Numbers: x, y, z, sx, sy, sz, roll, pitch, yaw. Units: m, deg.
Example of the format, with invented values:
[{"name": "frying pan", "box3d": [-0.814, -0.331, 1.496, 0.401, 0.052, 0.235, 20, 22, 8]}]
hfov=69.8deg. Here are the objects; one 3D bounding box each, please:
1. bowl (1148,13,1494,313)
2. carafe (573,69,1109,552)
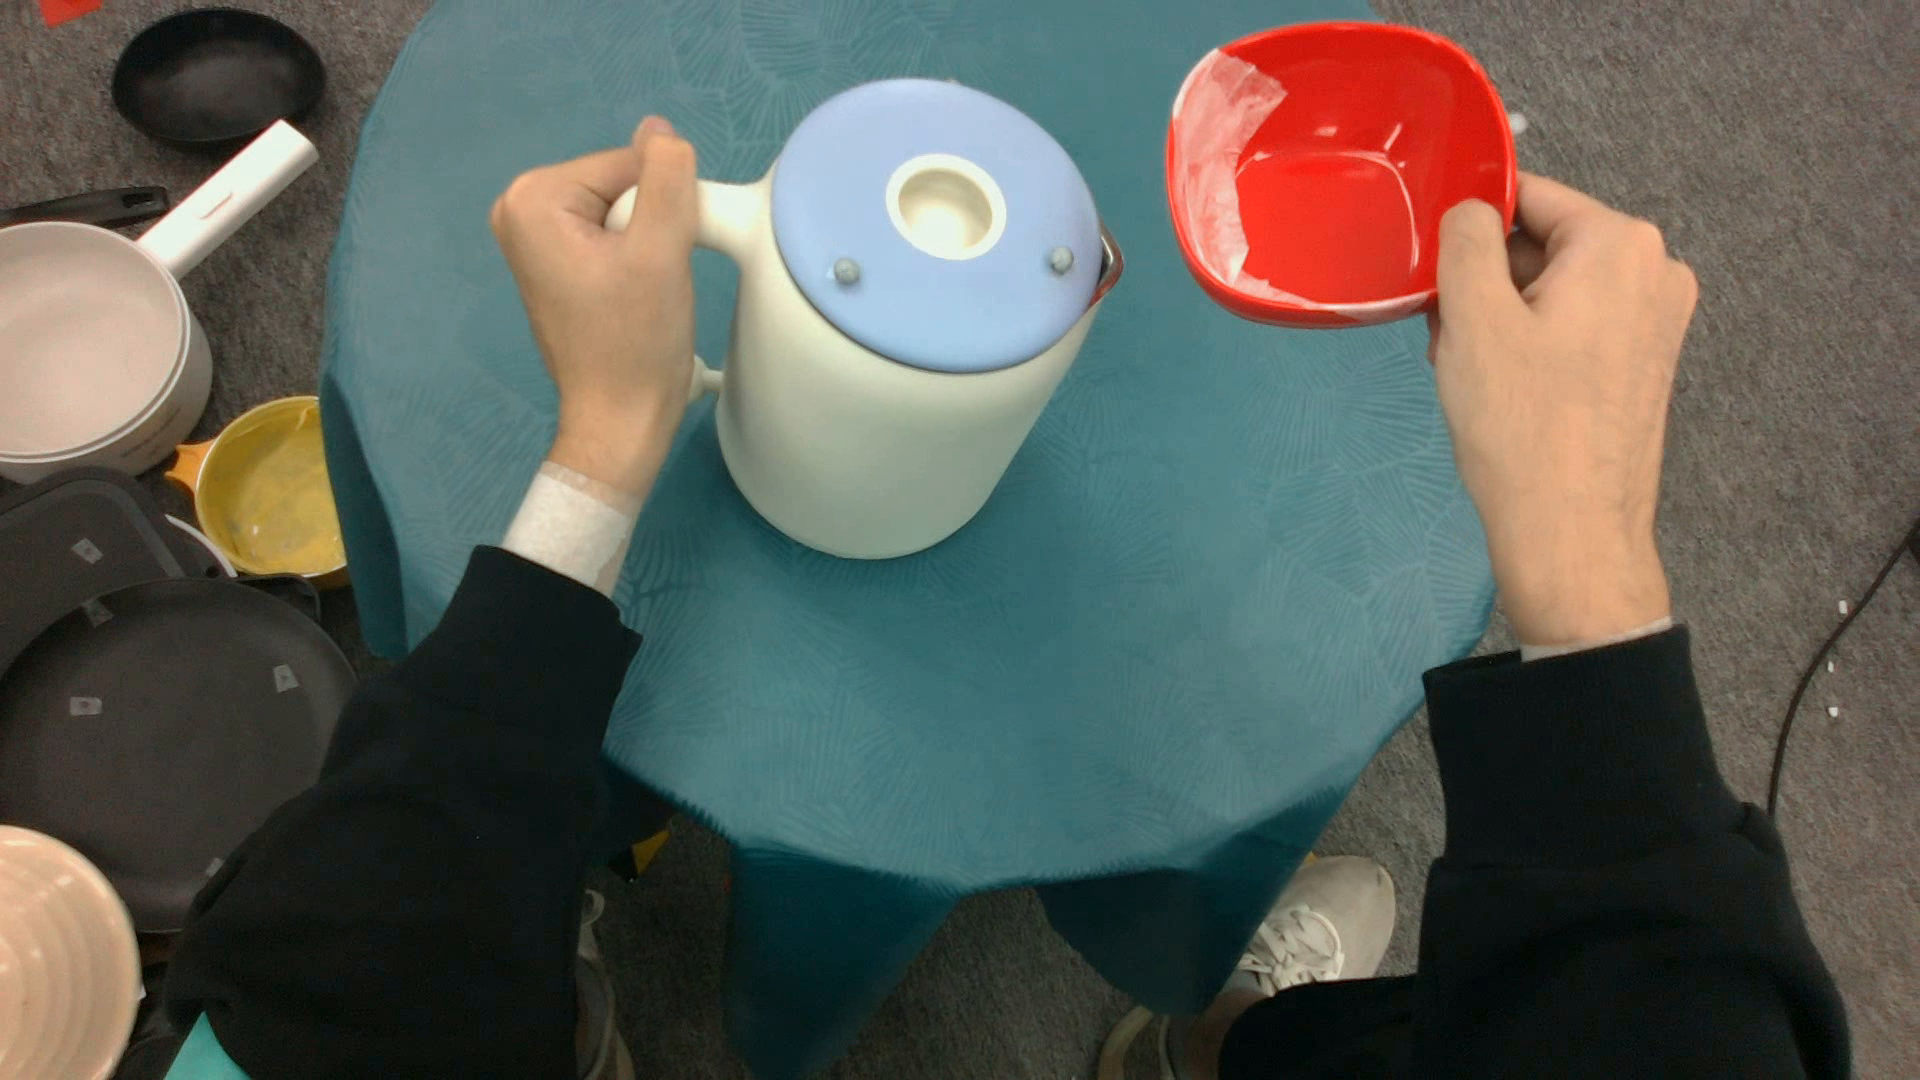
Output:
[{"name": "bowl", "box3d": [0.119, -0.119, 0.470, 0.119, 0.051, 0.119, -1, 67, 4]}, {"name": "carafe", "box3d": [-0.056, -0.087, 0.547, 0.191, 0.181, 0.132, 6, 65, -11]}]
